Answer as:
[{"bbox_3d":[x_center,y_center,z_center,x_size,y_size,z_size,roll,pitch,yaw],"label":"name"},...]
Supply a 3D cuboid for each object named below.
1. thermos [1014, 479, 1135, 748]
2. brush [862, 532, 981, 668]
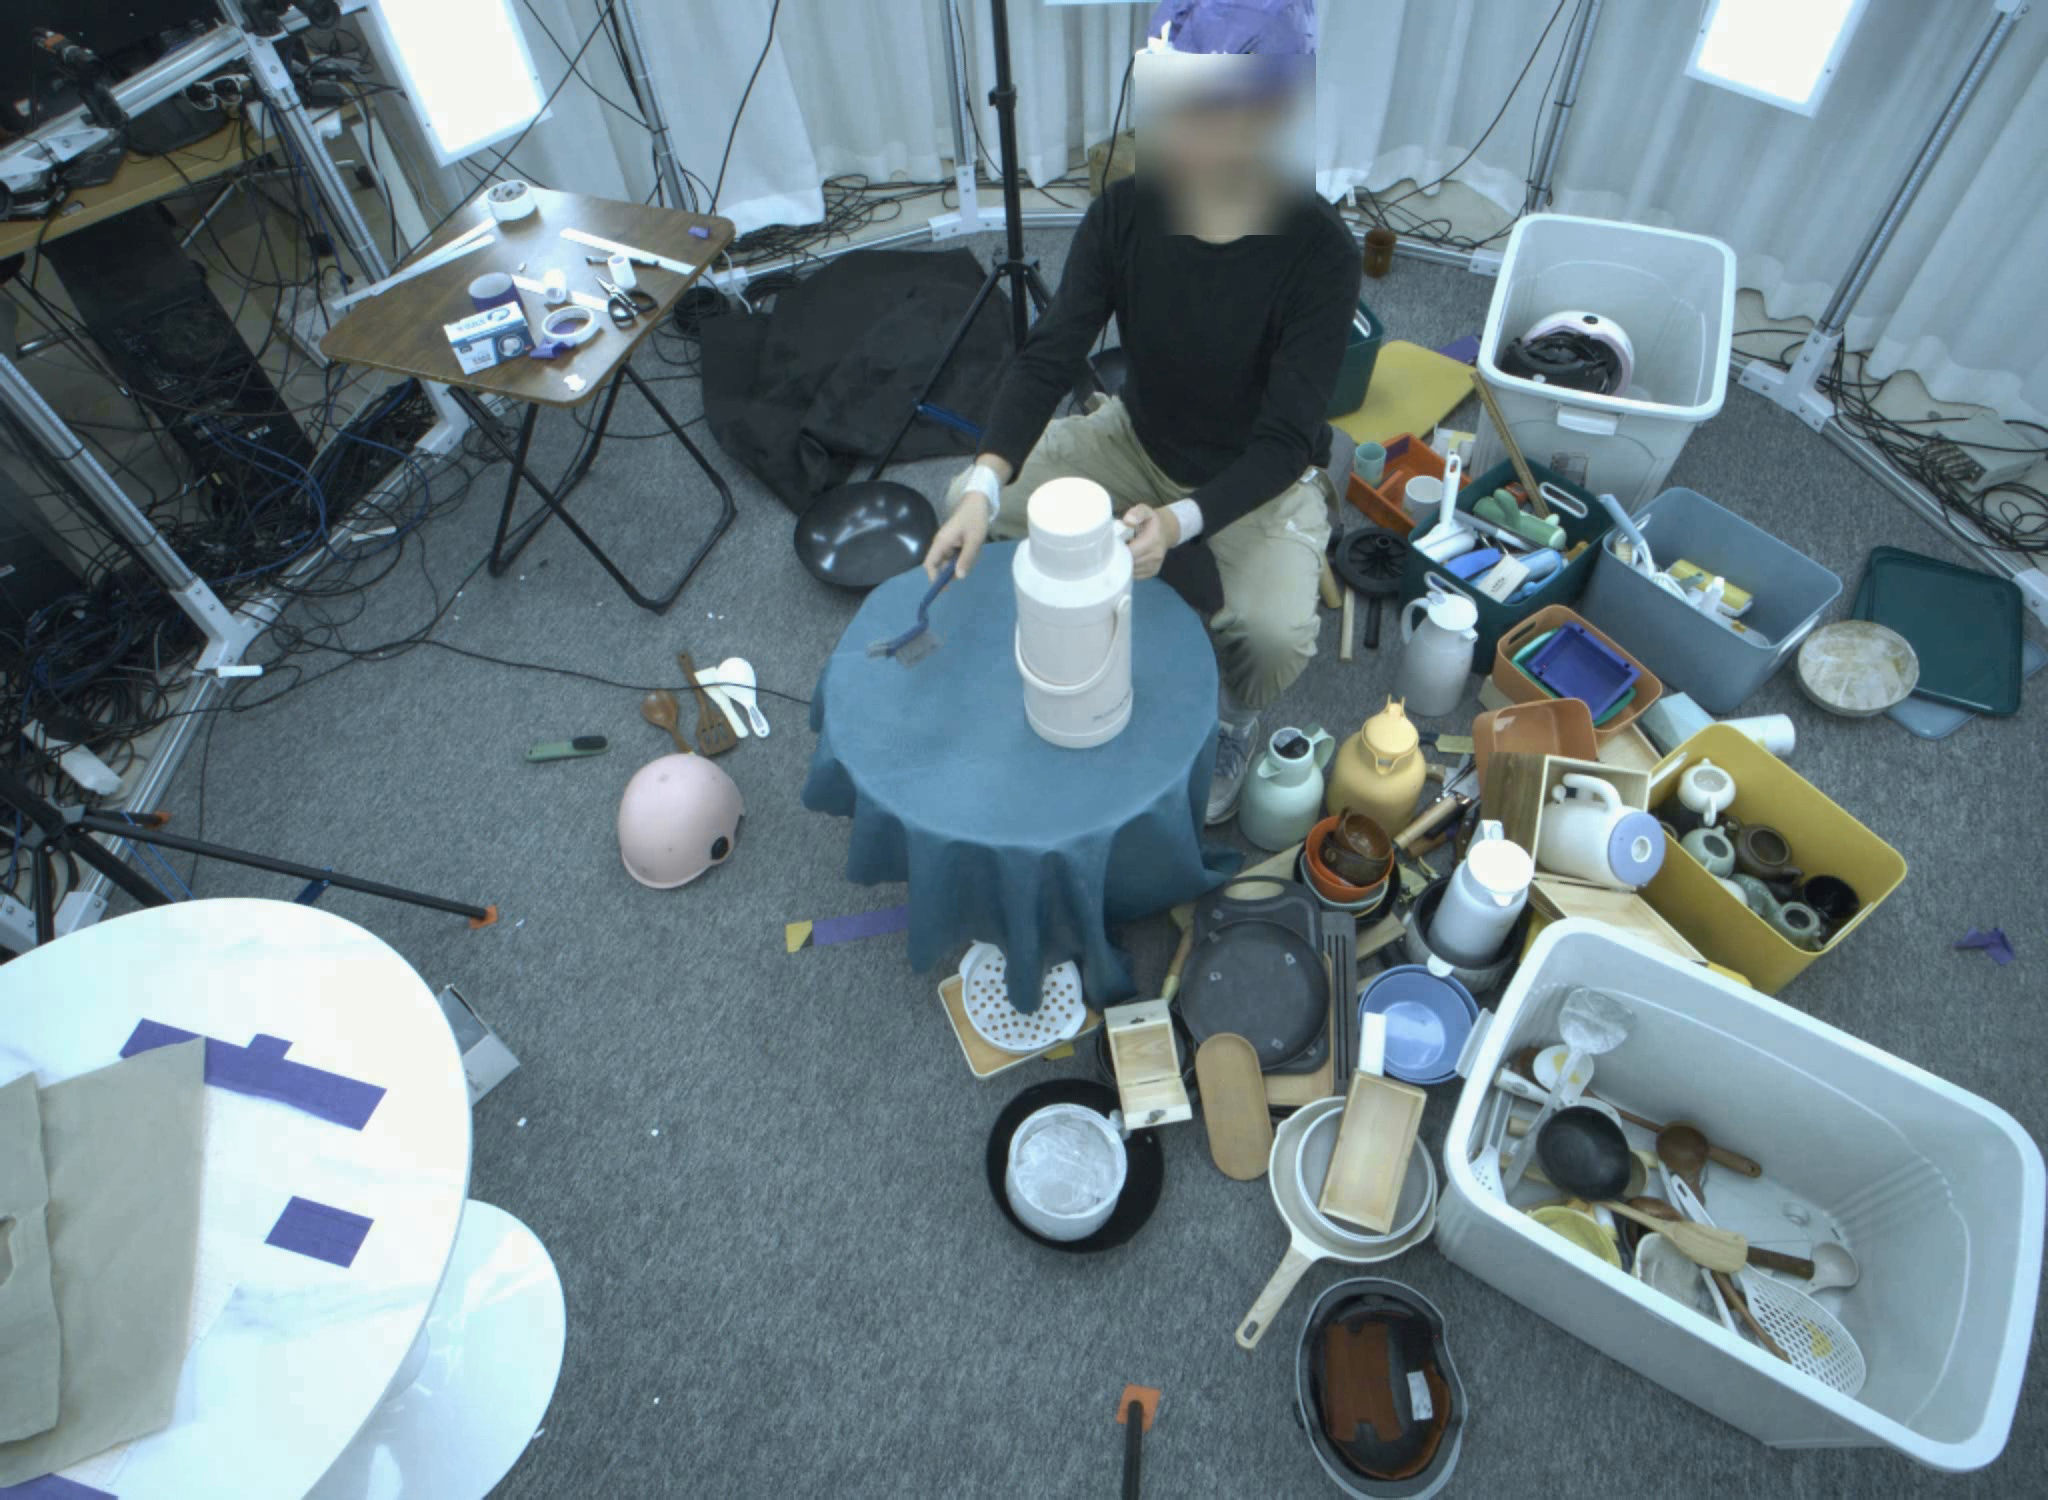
[{"bbox_3d":[0.081,-0.190,1.675,0.172,0.411,0.208,31,62,25],"label":"thermos"},{"bbox_3d":[-0.140,-0.228,1.769,0.096,0.033,0.272,27,57,-7],"label":"brush"}]
